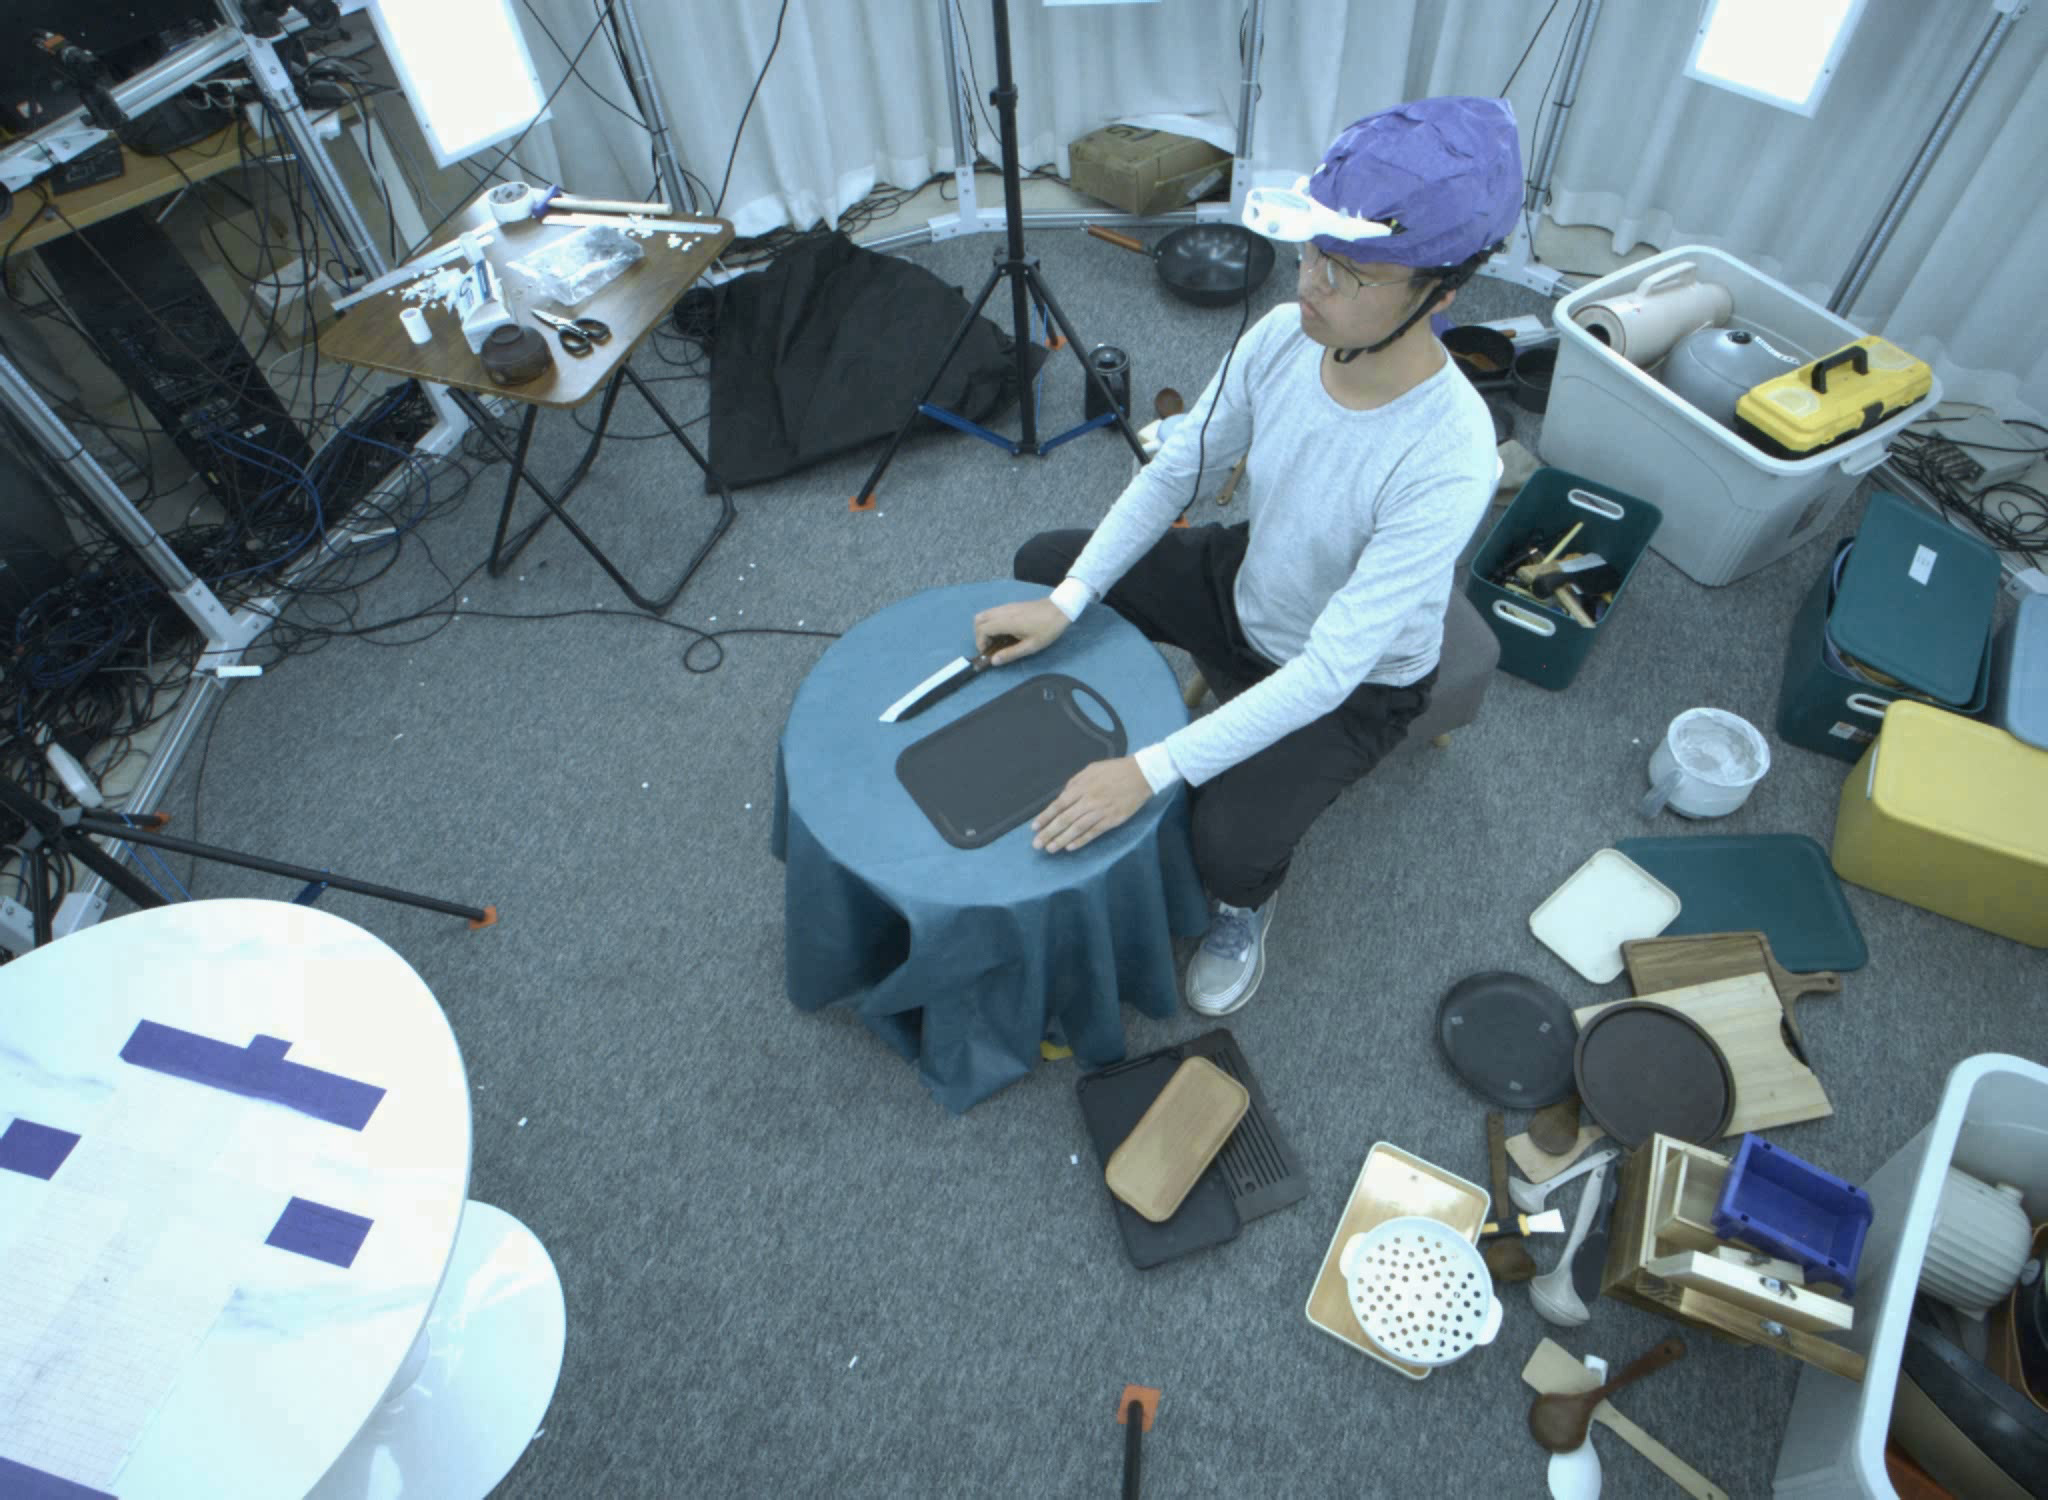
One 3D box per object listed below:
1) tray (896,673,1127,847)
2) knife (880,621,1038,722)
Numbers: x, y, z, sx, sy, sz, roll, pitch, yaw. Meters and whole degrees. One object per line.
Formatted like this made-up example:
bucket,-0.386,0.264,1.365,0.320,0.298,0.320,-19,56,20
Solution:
tray,-0.012,0.003,1.790,0.328,0.010,0.207,-29,59,-18
knife,-0.098,-0.119,1.874,0.291,0.020,0.049,-33,54,-18
